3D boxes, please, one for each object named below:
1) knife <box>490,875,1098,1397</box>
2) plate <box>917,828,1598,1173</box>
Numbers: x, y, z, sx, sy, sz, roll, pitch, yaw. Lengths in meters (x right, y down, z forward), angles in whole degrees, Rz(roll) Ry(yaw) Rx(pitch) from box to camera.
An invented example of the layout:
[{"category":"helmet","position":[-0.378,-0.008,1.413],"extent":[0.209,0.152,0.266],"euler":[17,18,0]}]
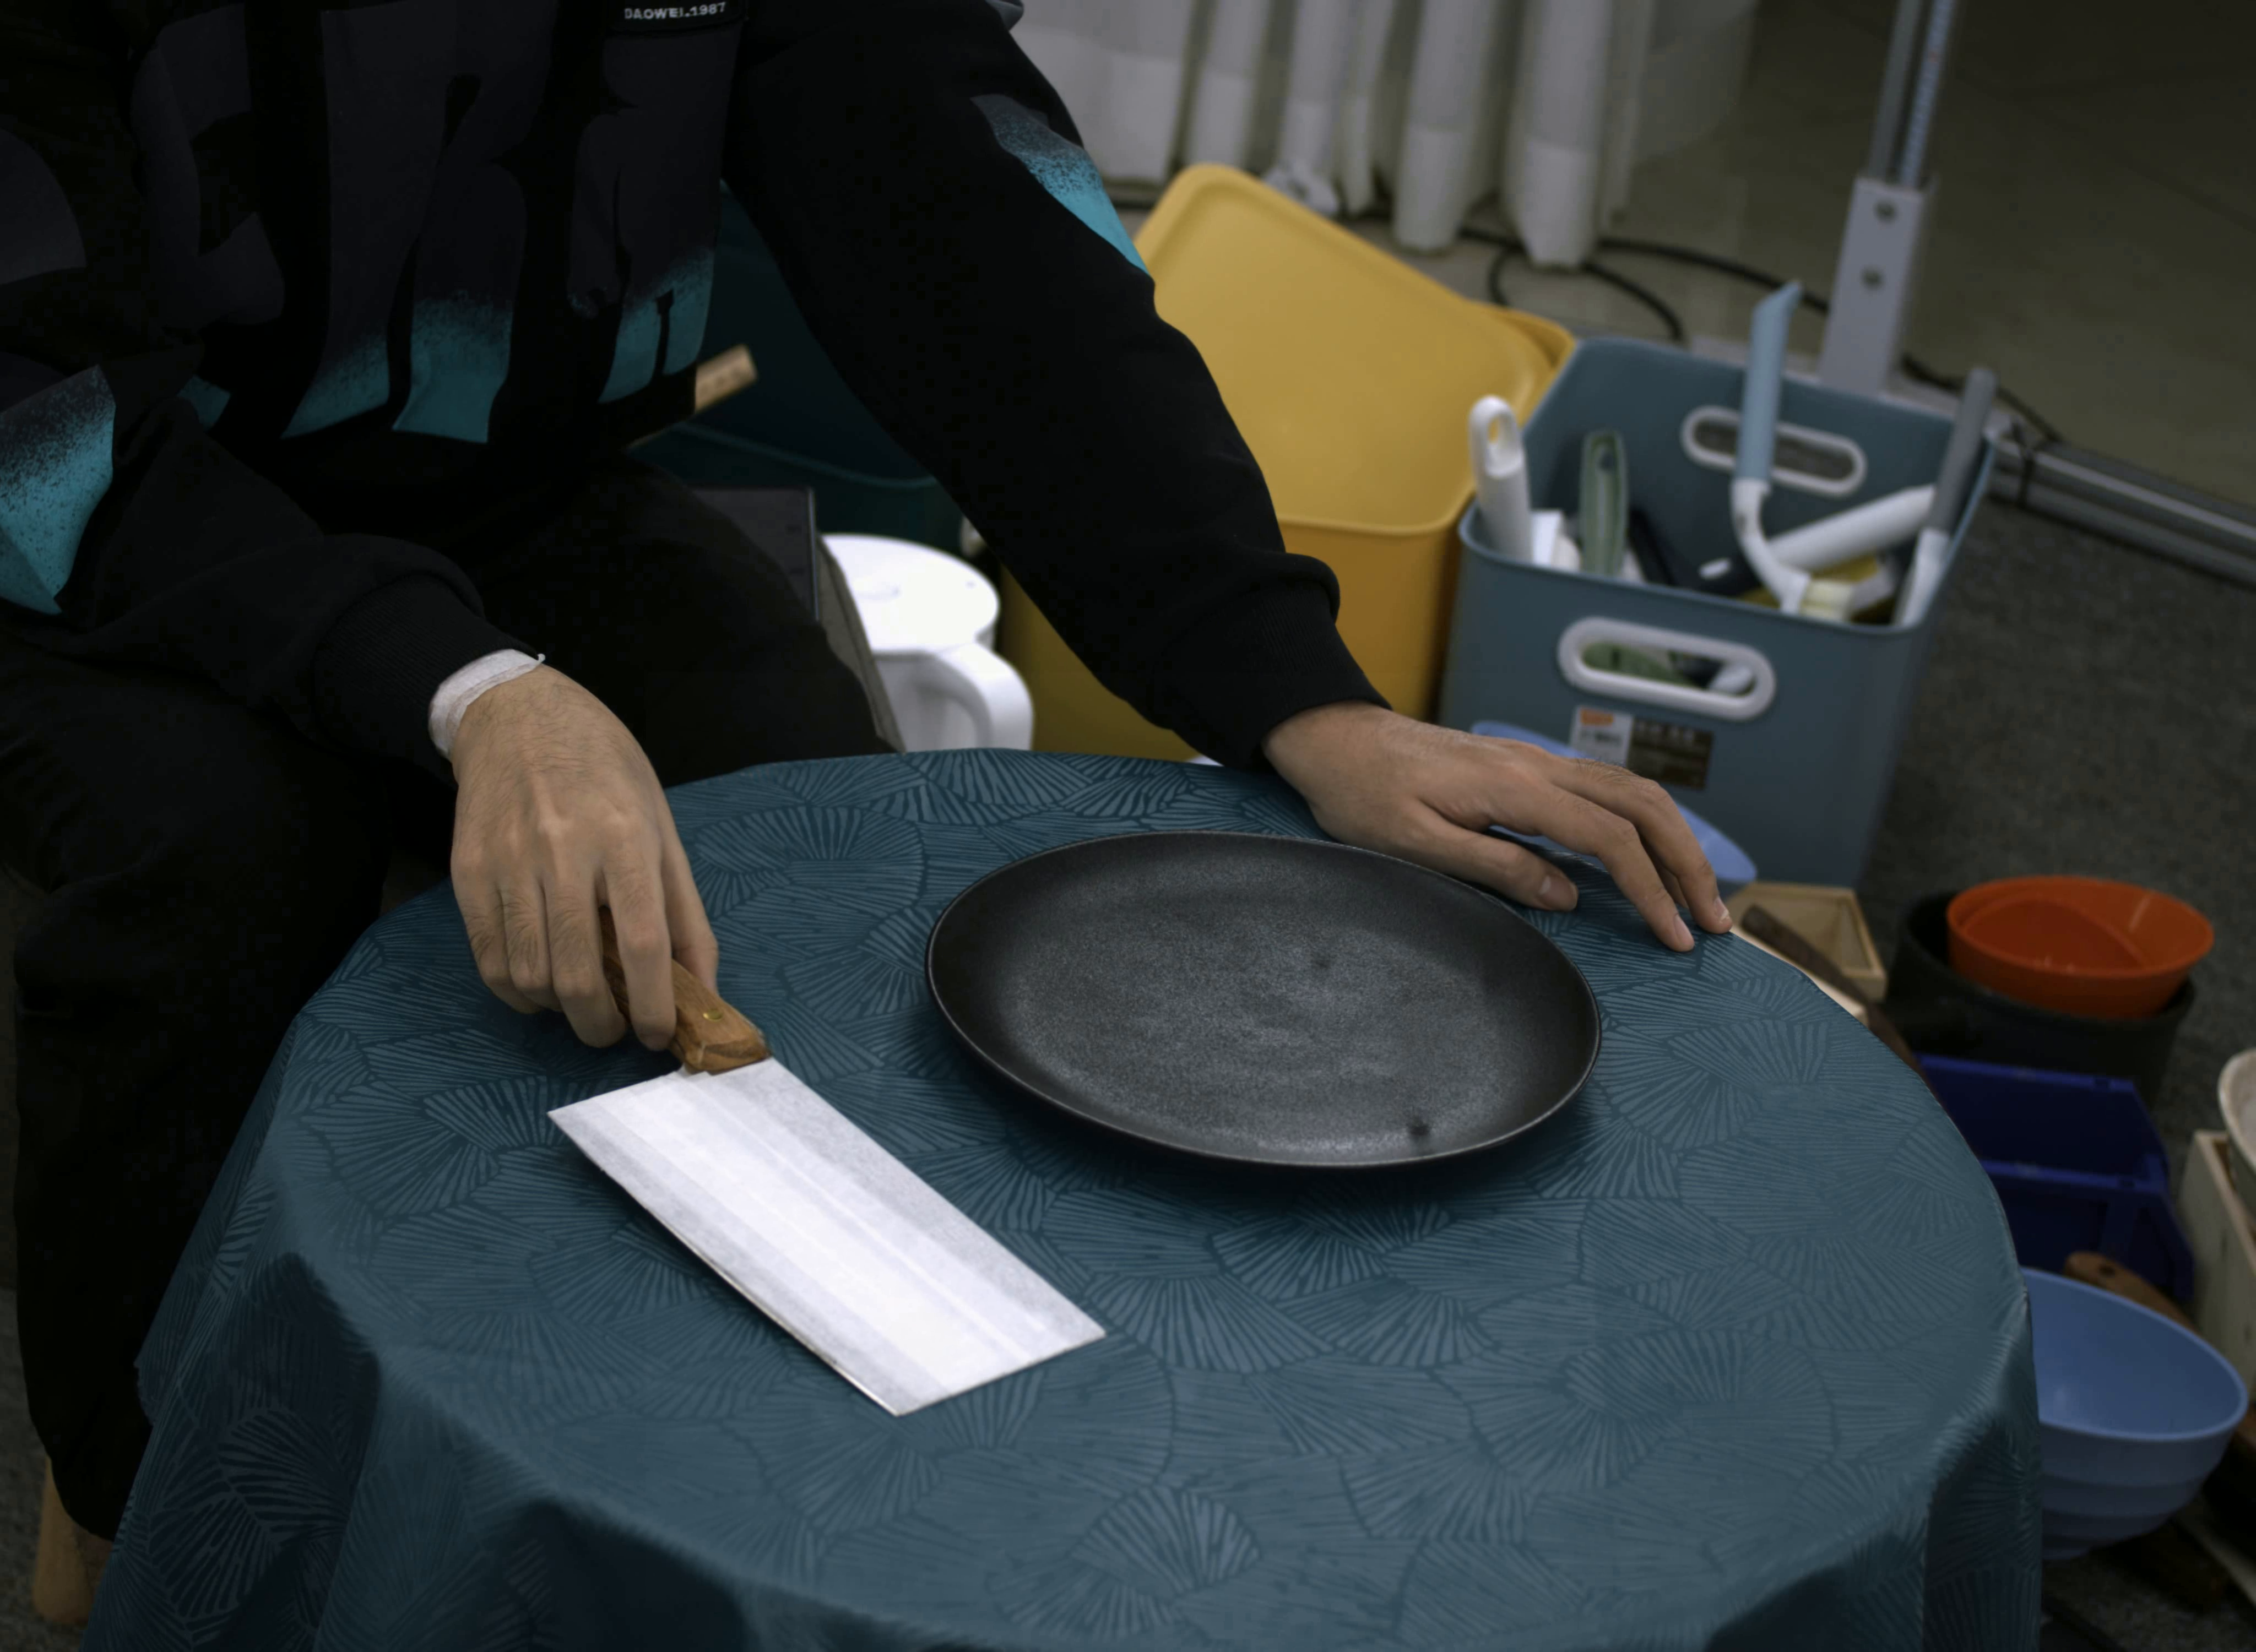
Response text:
[{"category":"knife","position":[-0.136,0.103,1.786],"extent":[0.092,0.021,0.308],"euler":[-17,40,-38]},{"category":"plate","position":[0.046,0.067,1.897],"extent":[0.243,0.023,0.246],"euler":[5,27,-3]}]
